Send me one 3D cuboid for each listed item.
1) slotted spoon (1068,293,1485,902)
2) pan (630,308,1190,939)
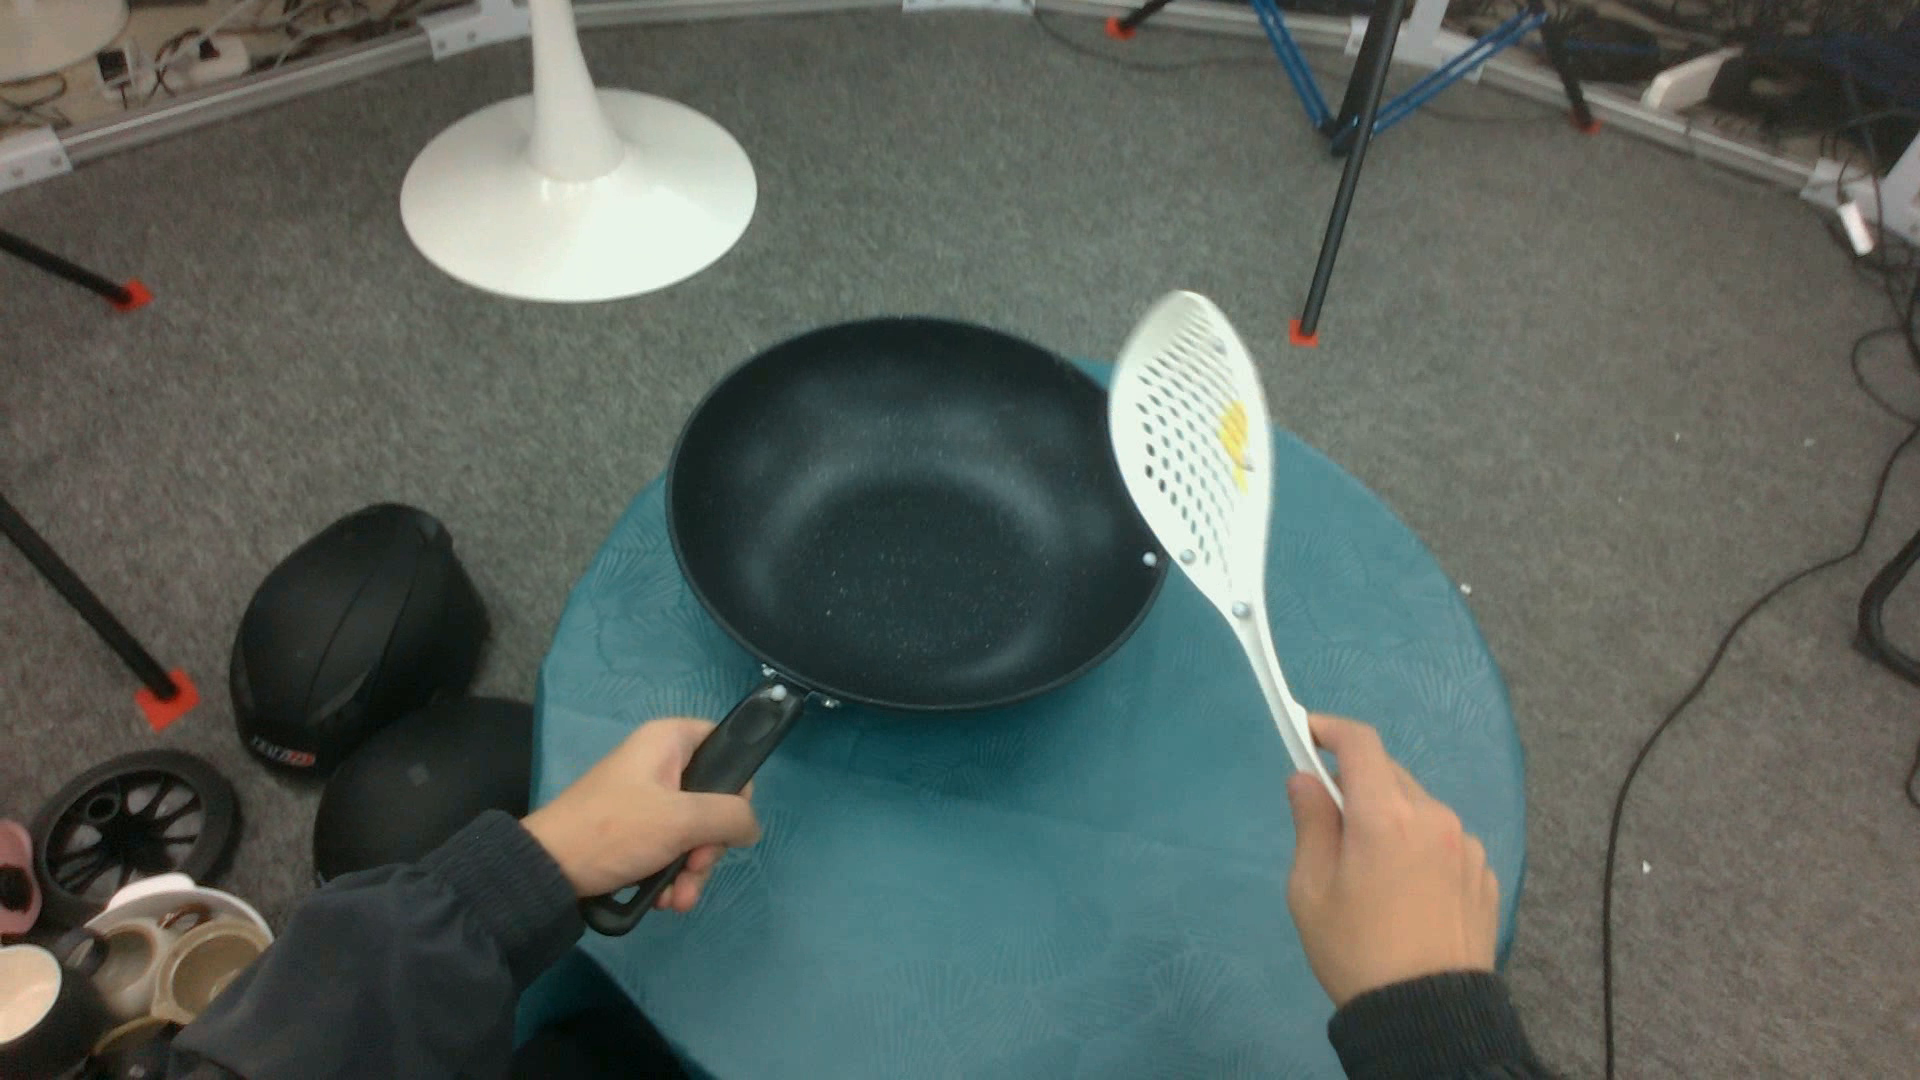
[{"bbox_3d":[0.148,0.025,0.686,0.050,0.136,0.348,-17,67,-15],"label":"slotted spoon"},{"bbox_3d":[-0.045,0.044,0.821,0.310,0.111,0.479,23,55,12],"label":"pan"}]
